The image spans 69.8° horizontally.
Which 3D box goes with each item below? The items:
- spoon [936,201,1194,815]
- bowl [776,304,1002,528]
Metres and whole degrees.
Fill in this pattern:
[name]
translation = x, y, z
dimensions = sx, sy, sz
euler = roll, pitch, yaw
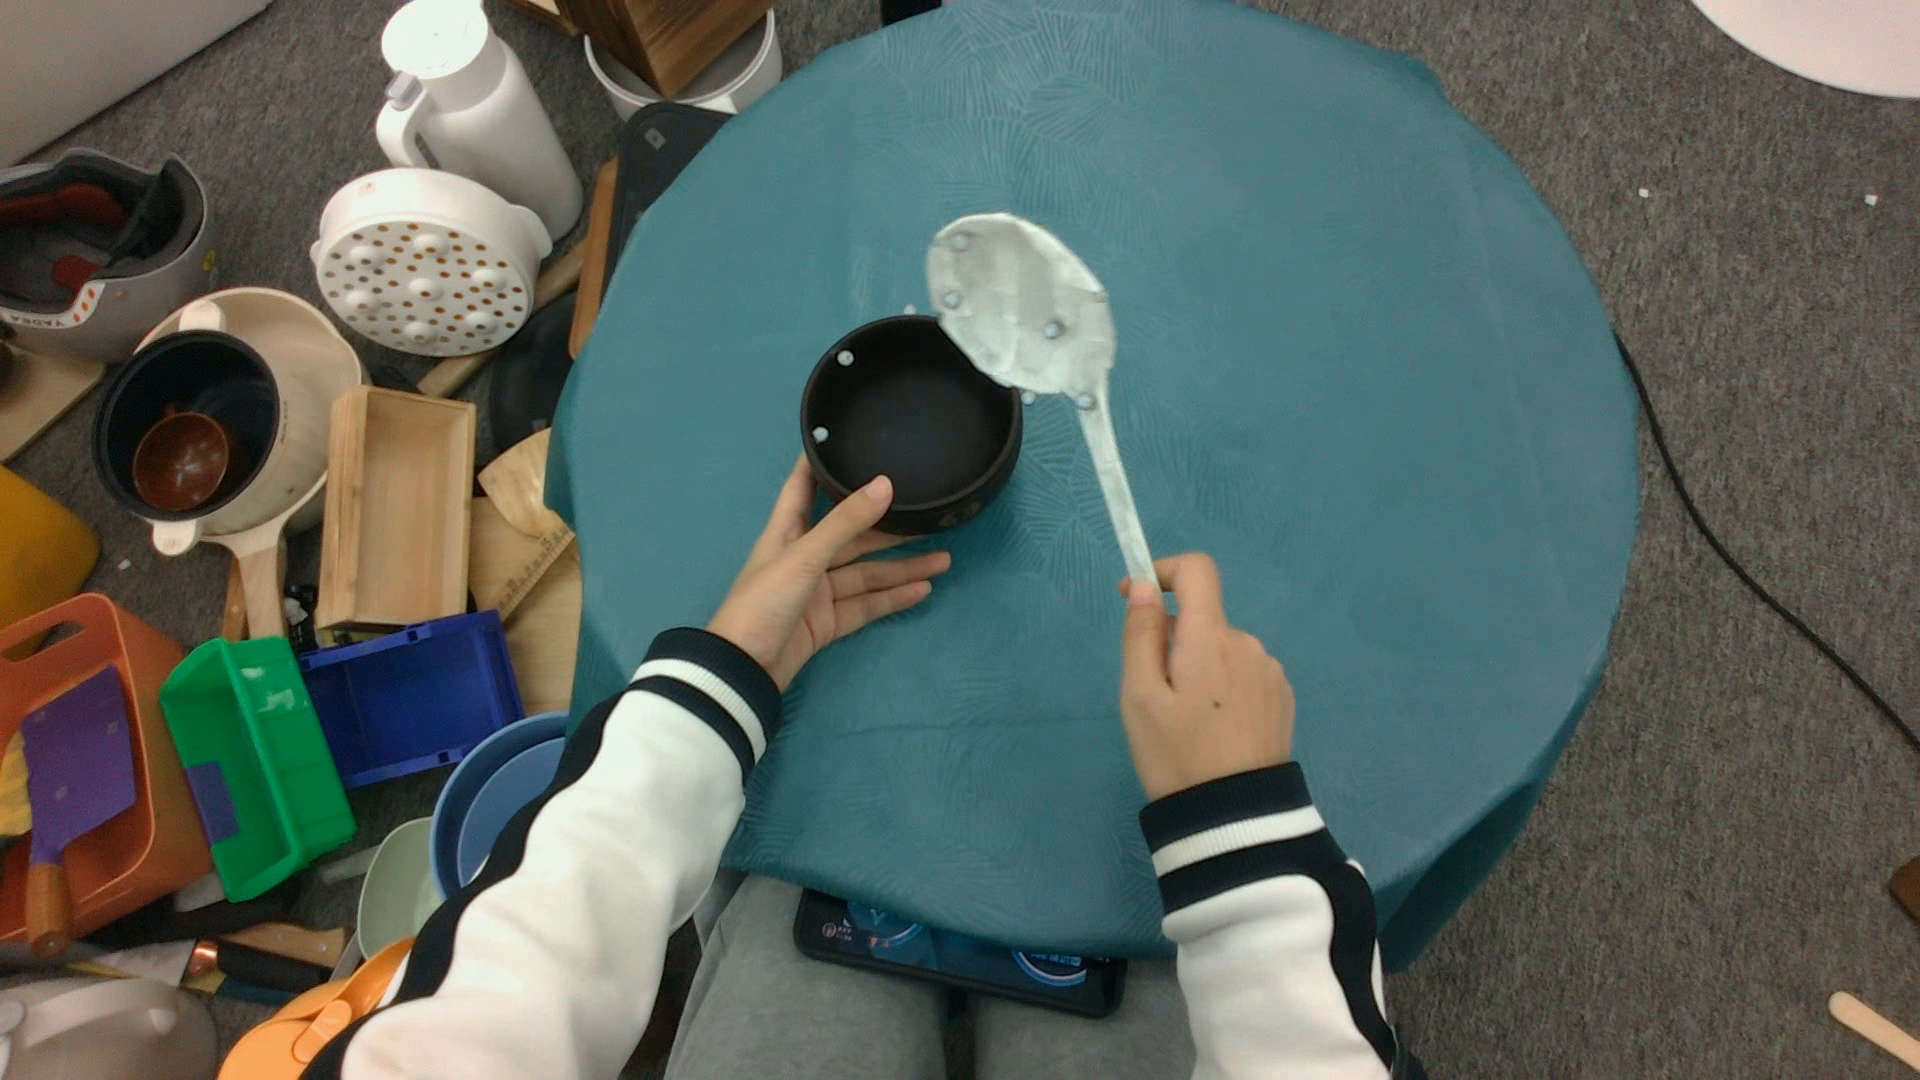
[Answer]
[spoon]
translation = 0.048, -0.010, 0.604
dimensions = 0.059, 0.100, 0.277
euler = -9, 86, -38
[bowl]
translation = -0.036, -0.060, 0.739
dimensions = 0.118, 0.069, 0.118
euler = 0, 69, 1
